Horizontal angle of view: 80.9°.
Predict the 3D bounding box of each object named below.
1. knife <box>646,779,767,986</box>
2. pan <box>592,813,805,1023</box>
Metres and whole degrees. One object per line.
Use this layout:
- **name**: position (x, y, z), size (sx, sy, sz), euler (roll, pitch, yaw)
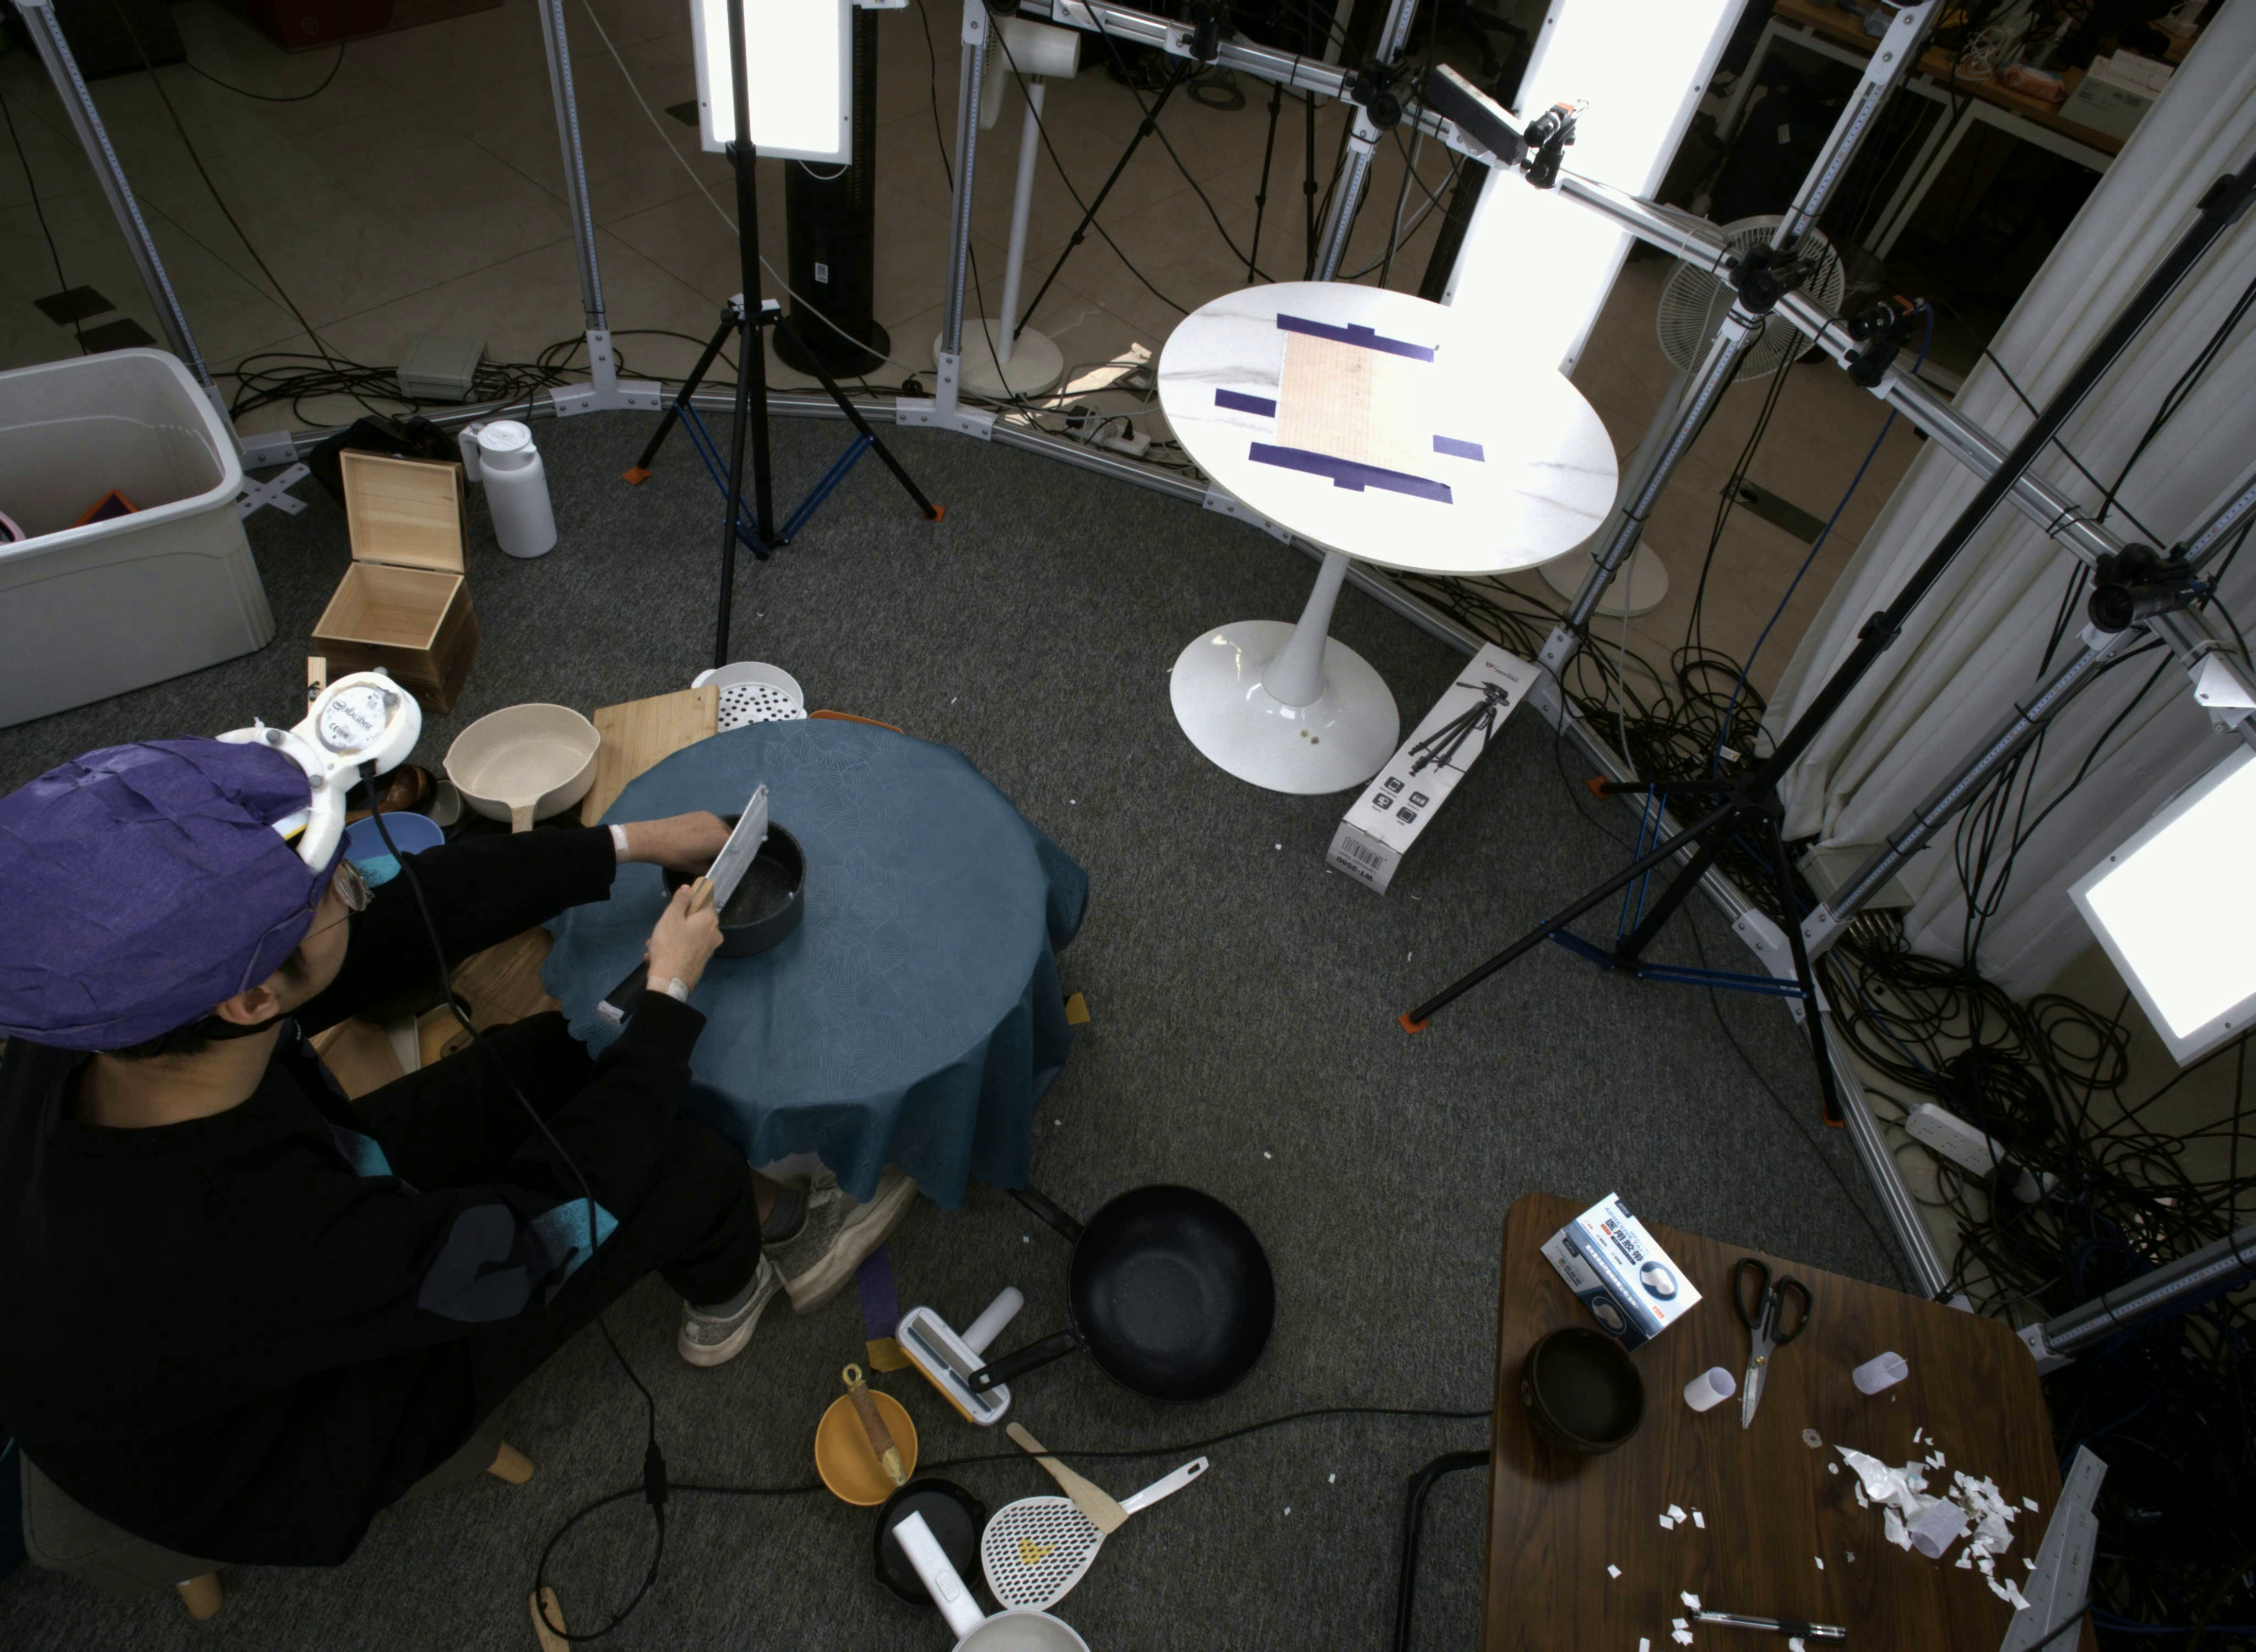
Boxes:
- **knife**: position (-0.472, 0.062, 1.468), size (0.021, 0.117, 0.310), euler (14, 38, 1)
- **pan**: position (-0.518, 0.123, 1.541), size (0.169, 0.088, 0.327), euler (27, 51, 10)
